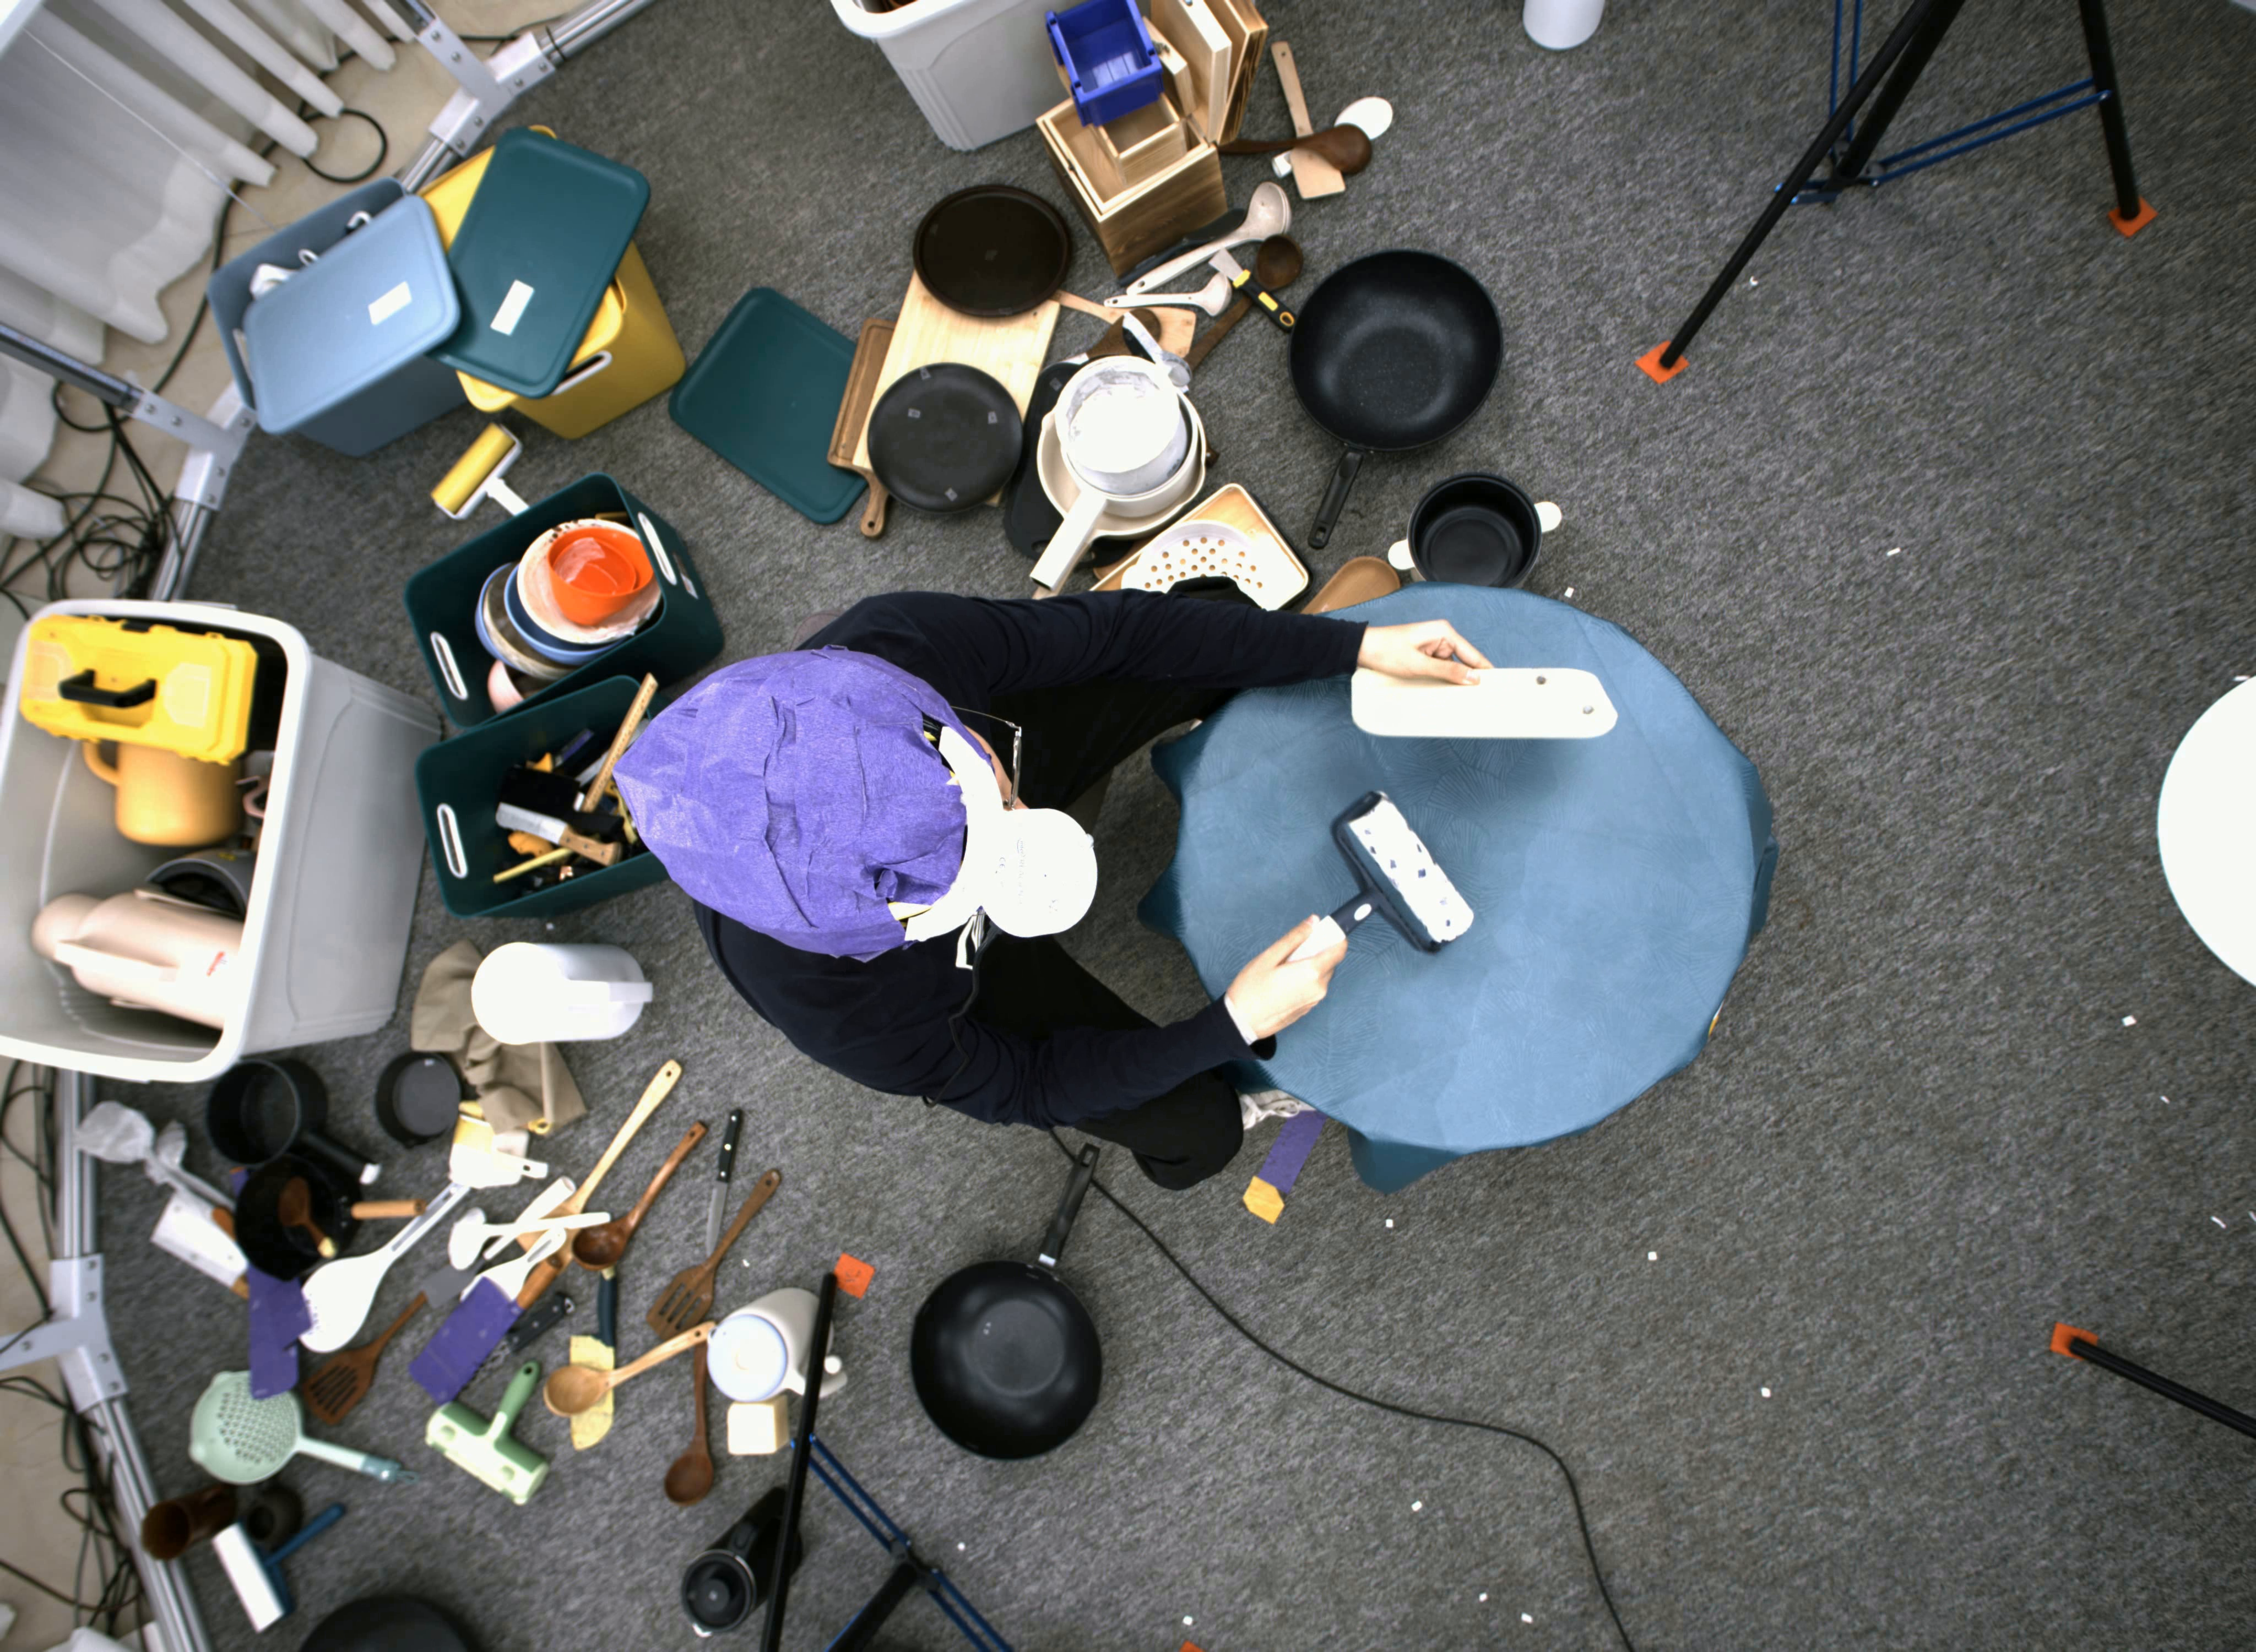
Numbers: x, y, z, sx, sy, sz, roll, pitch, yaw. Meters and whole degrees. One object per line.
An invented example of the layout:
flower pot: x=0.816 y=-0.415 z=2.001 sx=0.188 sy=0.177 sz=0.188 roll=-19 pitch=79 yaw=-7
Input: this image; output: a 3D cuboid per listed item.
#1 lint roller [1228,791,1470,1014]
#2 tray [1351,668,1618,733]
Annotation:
lint roller: x=0.200 y=0.105 z=1.369 sx=0.247 sy=0.050 sz=0.177 roll=-41 pitch=106 yaw=2
tray: x=0.332 y=-0.121 z=1.303 sx=0.240 sy=0.167 sz=0.018 roll=1 pitch=113 yaw=10
